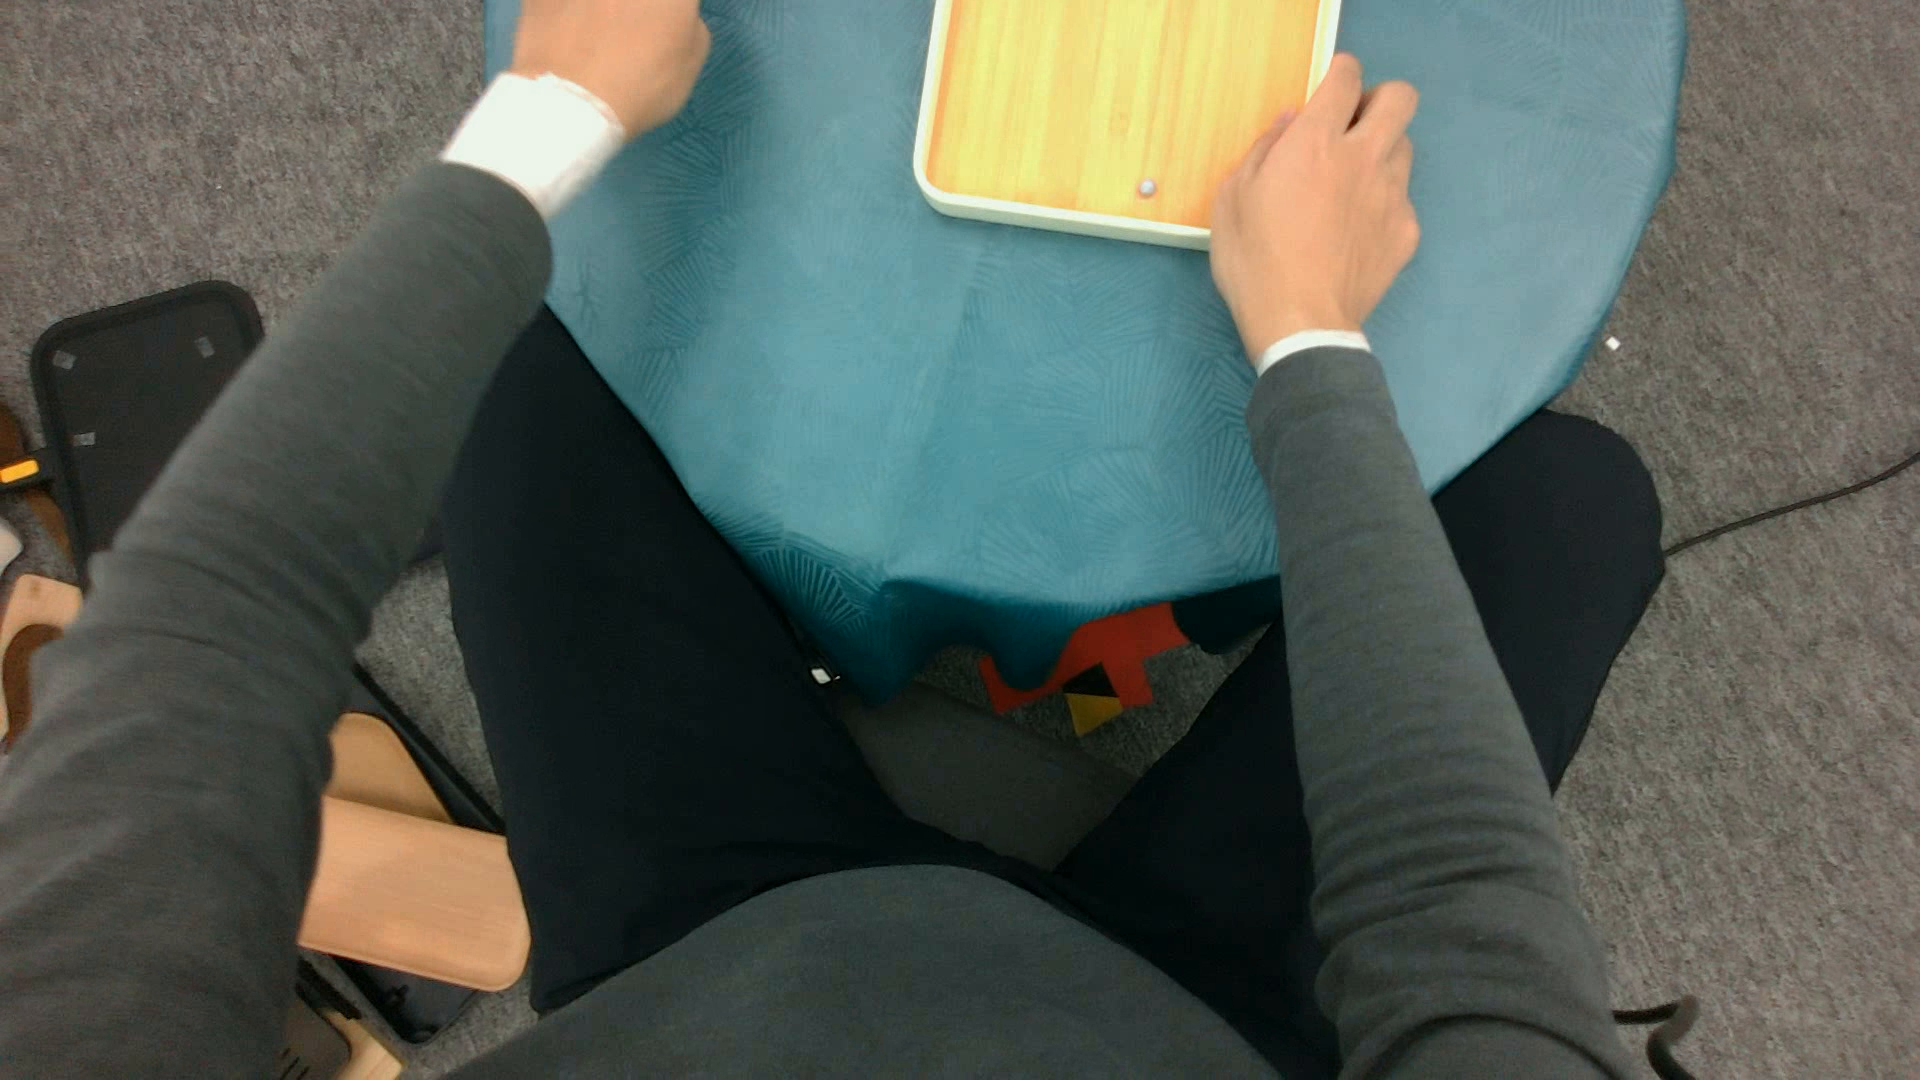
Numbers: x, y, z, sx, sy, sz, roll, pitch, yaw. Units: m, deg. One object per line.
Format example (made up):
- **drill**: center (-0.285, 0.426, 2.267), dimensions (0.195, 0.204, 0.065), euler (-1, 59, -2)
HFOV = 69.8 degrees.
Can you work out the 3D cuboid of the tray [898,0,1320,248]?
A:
- **tray**: center (0.084, -0.302, 0.681), dimensions (0.191, 0.027, 0.300), euler (9, 85, 4)
